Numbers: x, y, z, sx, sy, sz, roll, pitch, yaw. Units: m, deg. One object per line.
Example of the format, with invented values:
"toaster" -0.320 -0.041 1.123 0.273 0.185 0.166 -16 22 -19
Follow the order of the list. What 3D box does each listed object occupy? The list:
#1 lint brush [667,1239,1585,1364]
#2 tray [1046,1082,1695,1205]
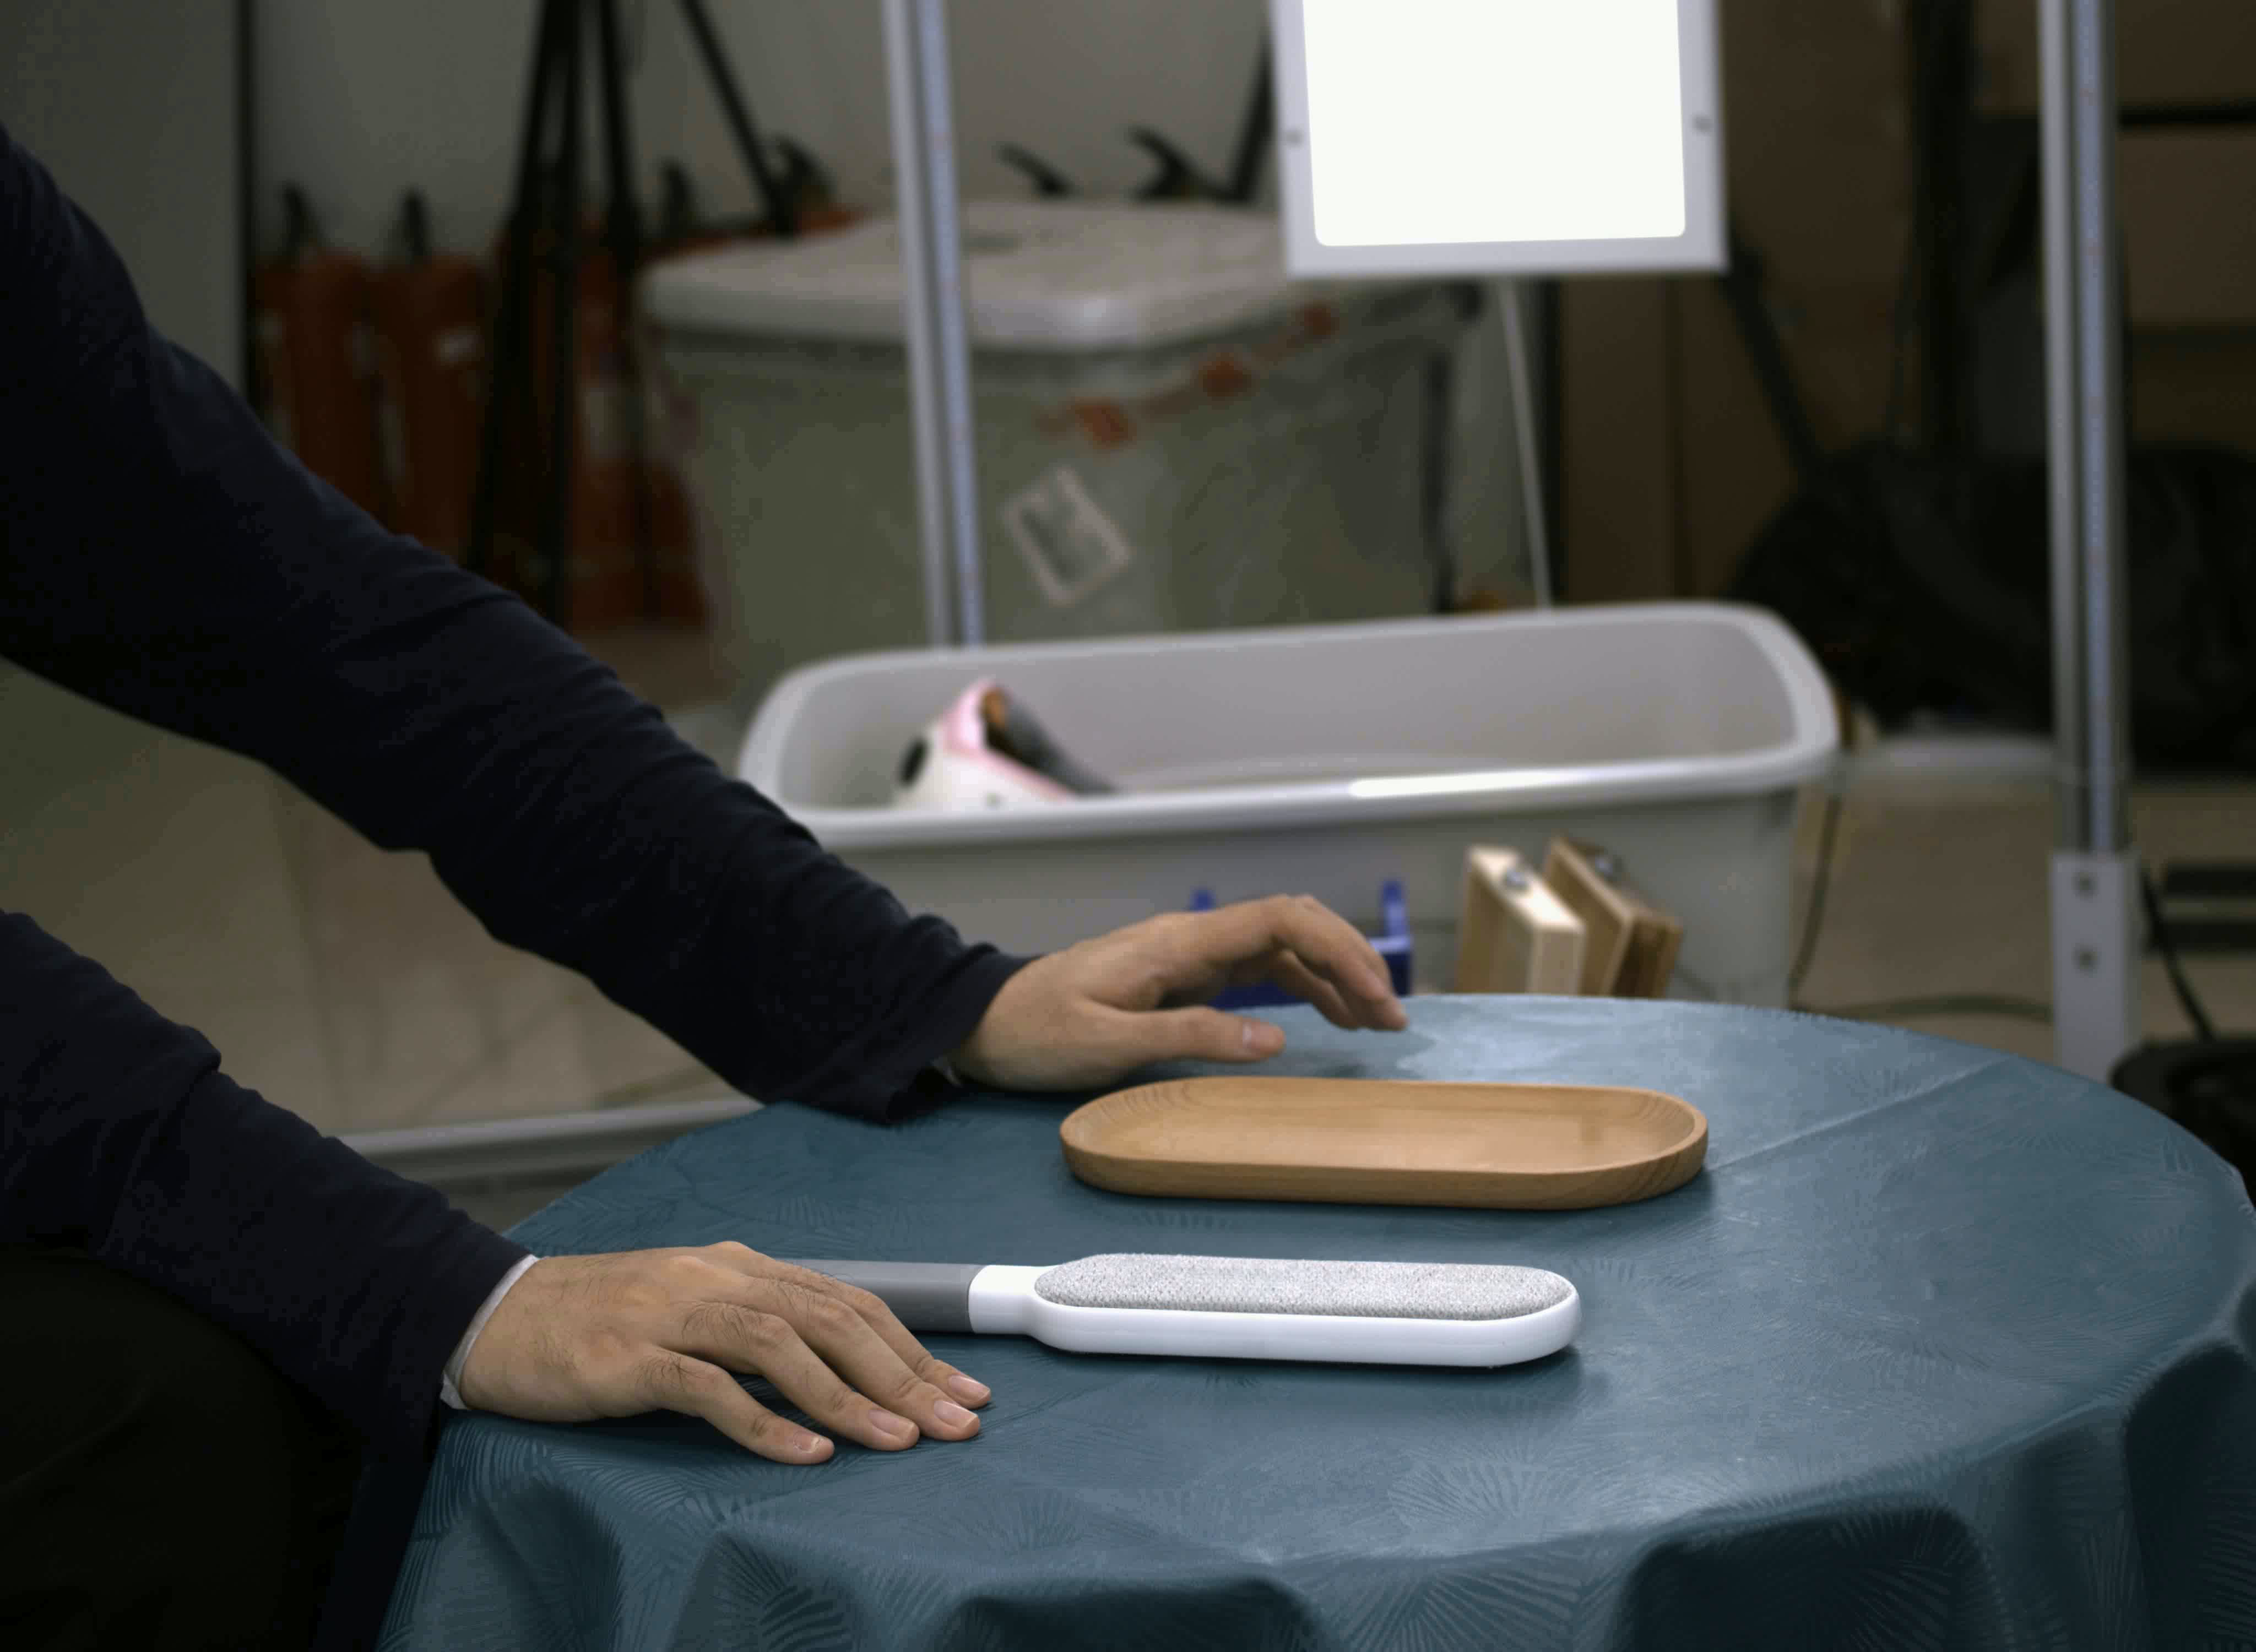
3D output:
"lint brush" -0.005 0.149 1.757 0.313 0.021 0.059 0 20 22
"tray" 0.084 0.110 1.907 0.234 0.020 0.100 -2 12 22
